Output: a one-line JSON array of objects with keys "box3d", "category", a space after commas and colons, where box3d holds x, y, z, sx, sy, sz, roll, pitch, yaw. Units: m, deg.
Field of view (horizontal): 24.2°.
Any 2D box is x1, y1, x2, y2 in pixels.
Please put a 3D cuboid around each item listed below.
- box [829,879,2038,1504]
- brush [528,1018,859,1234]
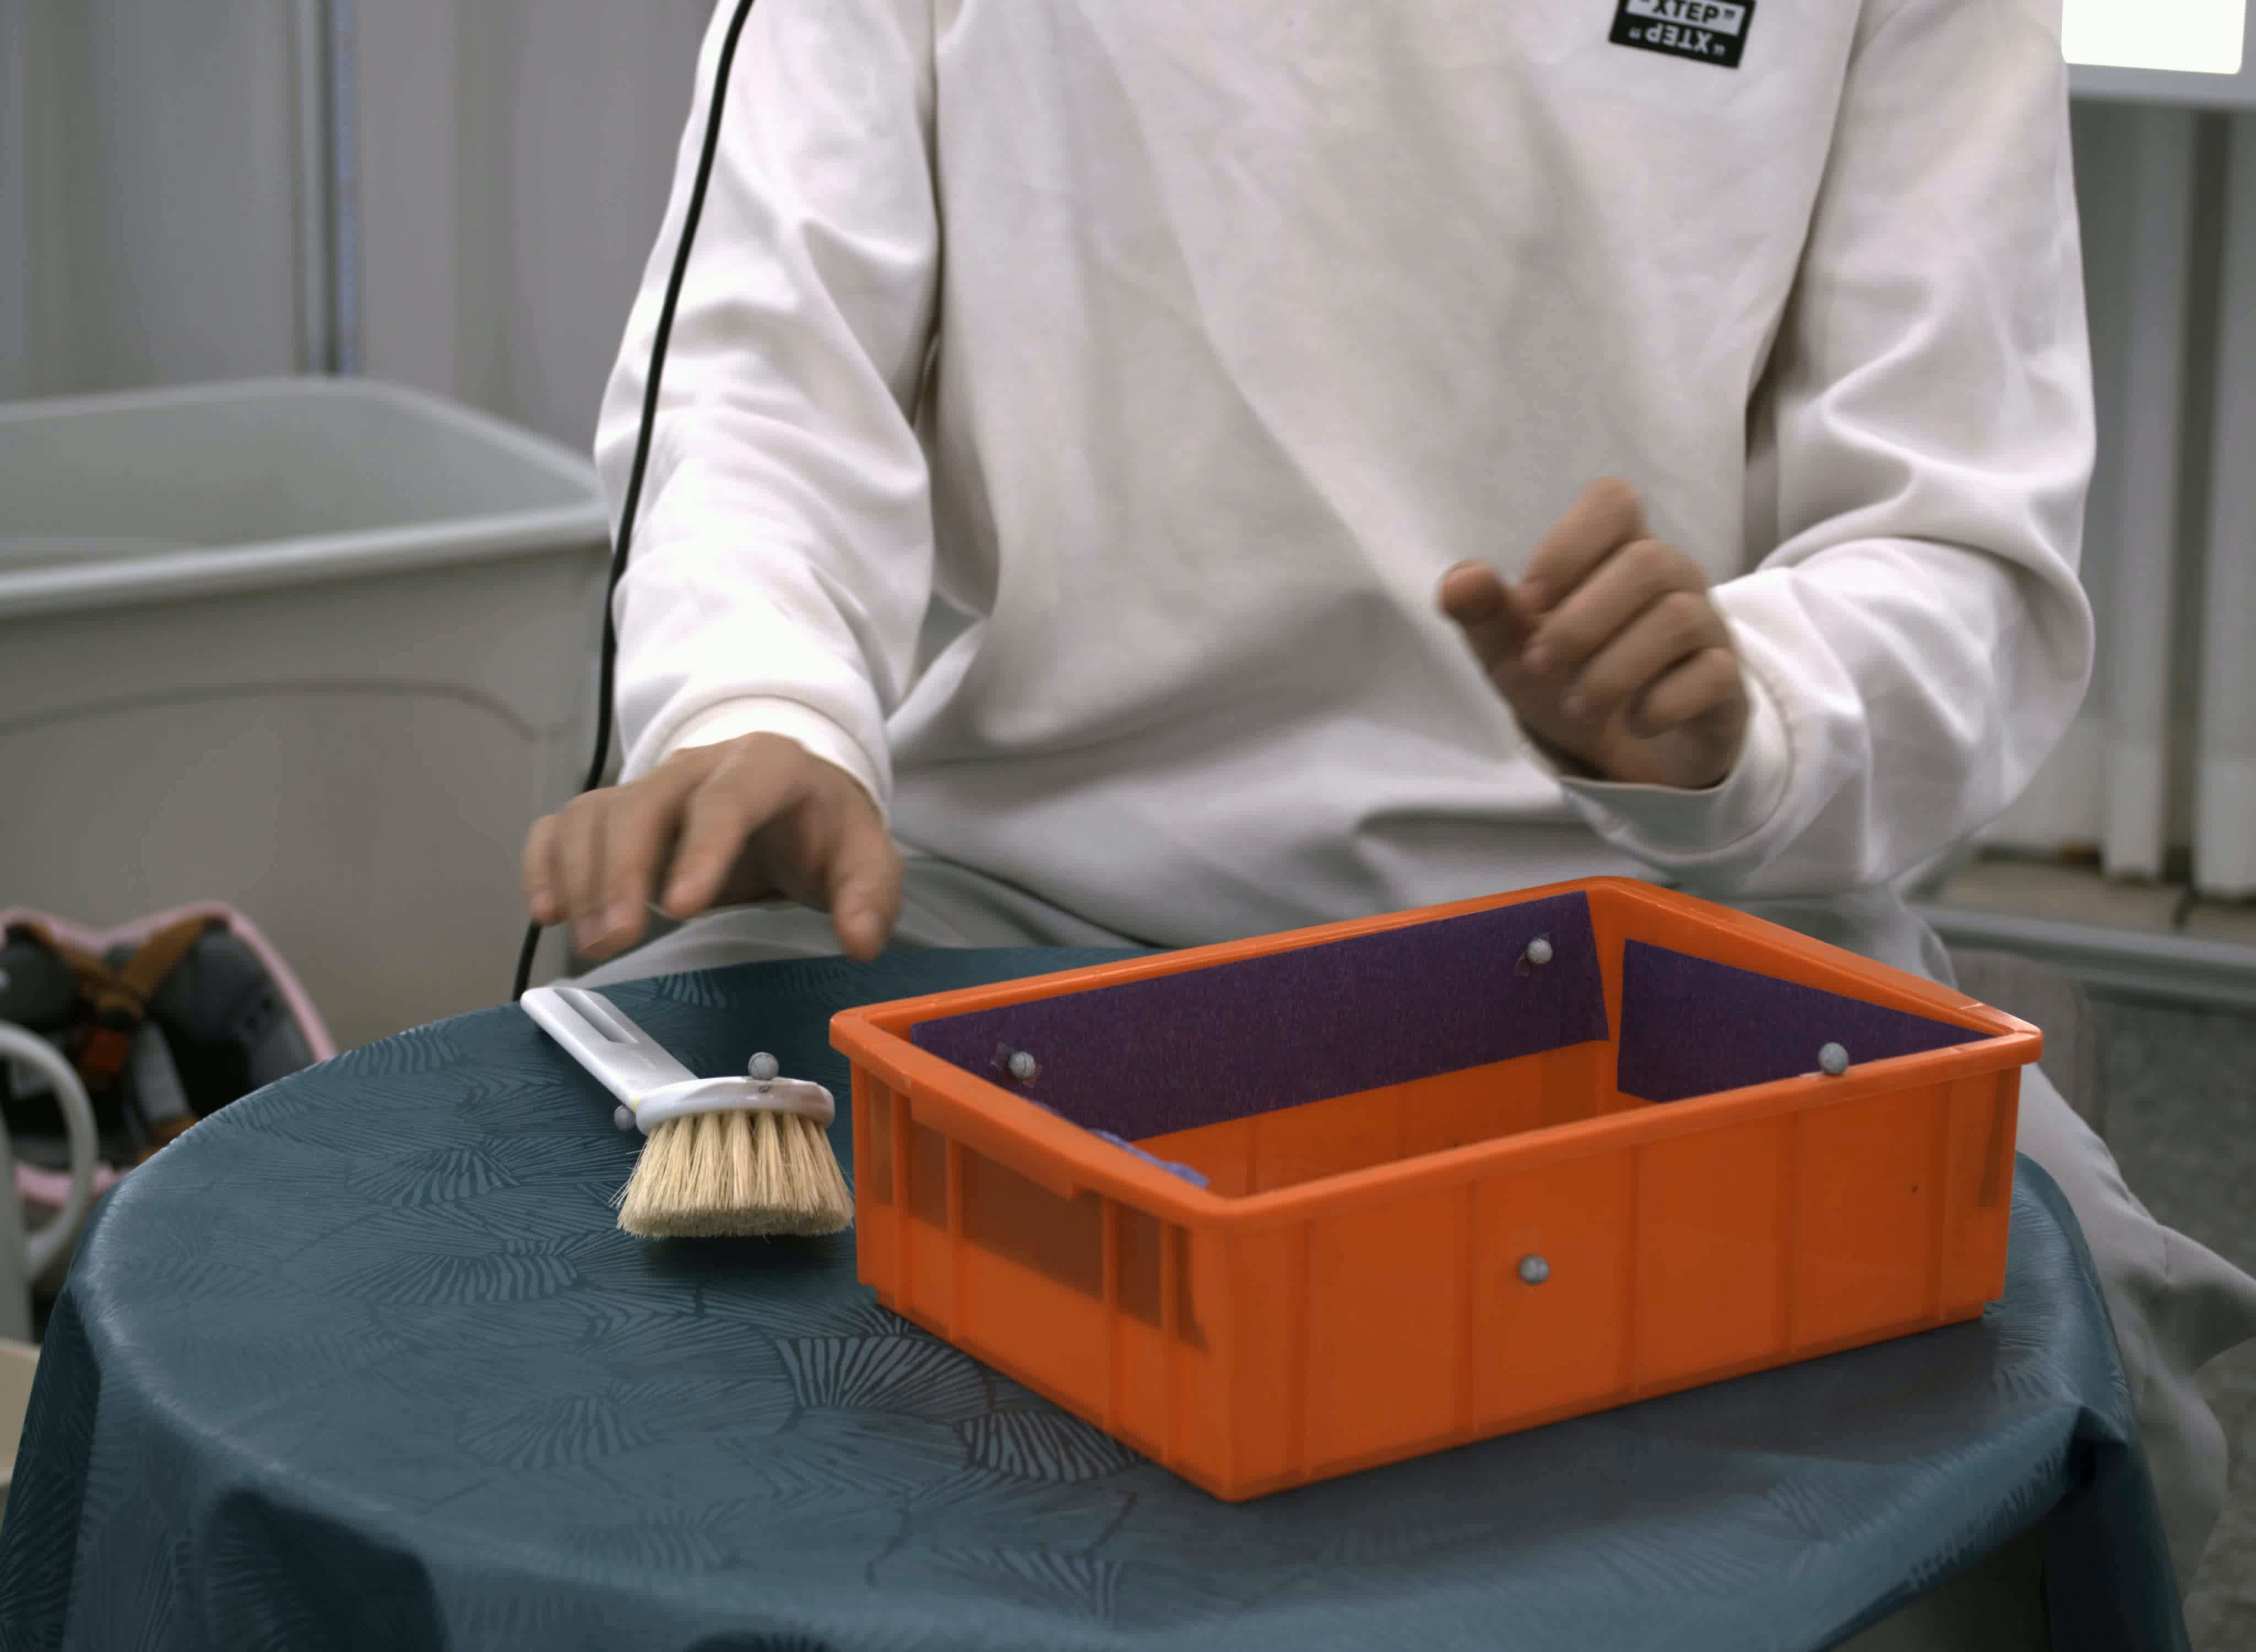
[{"box3d": [0.086, 0.100, 1.519, 0.305, 0.097, 0.204, -7, 17, -33], "category": "box"}, {"box3d": [-0.146, 0.093, 1.661, 0.069, 0.056, 0.264, 11, -4, -22], "category": "brush"}]
